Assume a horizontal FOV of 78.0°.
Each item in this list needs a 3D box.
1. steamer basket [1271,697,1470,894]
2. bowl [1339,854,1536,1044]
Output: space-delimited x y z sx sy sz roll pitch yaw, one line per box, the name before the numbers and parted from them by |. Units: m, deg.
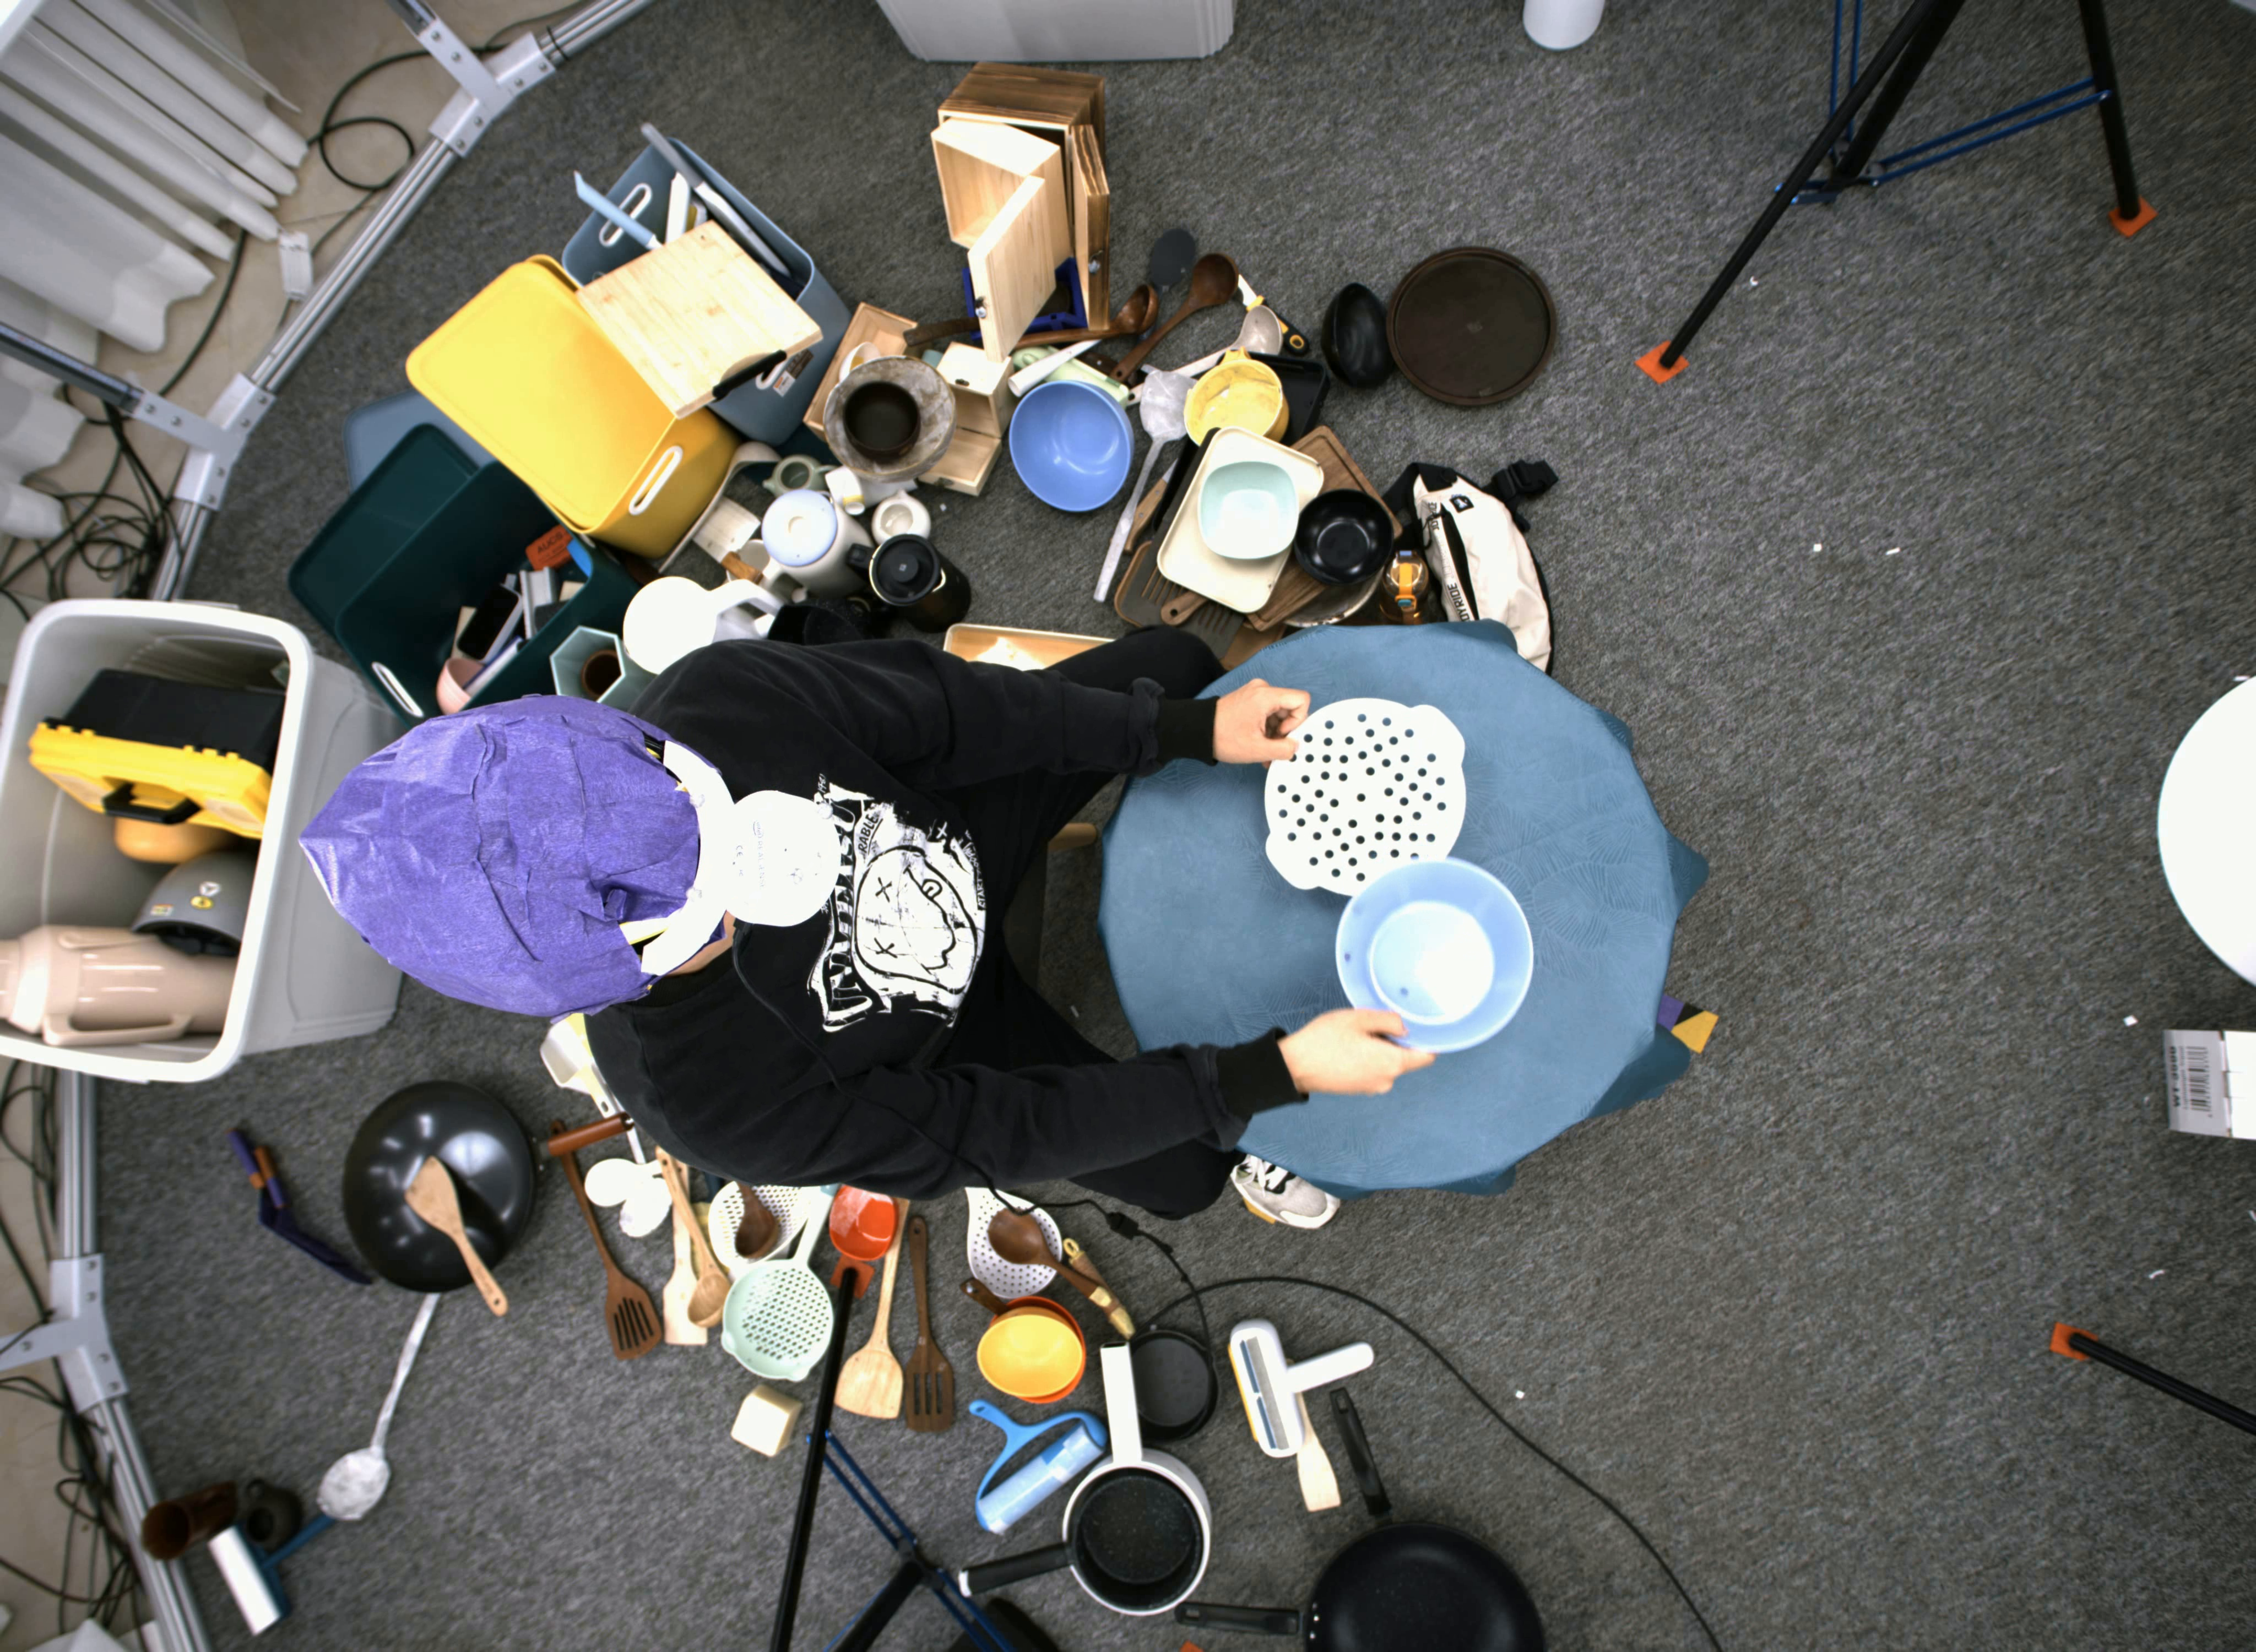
steamer basket | 0.247 -0.031 1.423 0.231 0.069 0.201 -42 88 5
bowl | 0.284 0.117 1.277 0.177 0.071 0.174 -3 76 10
